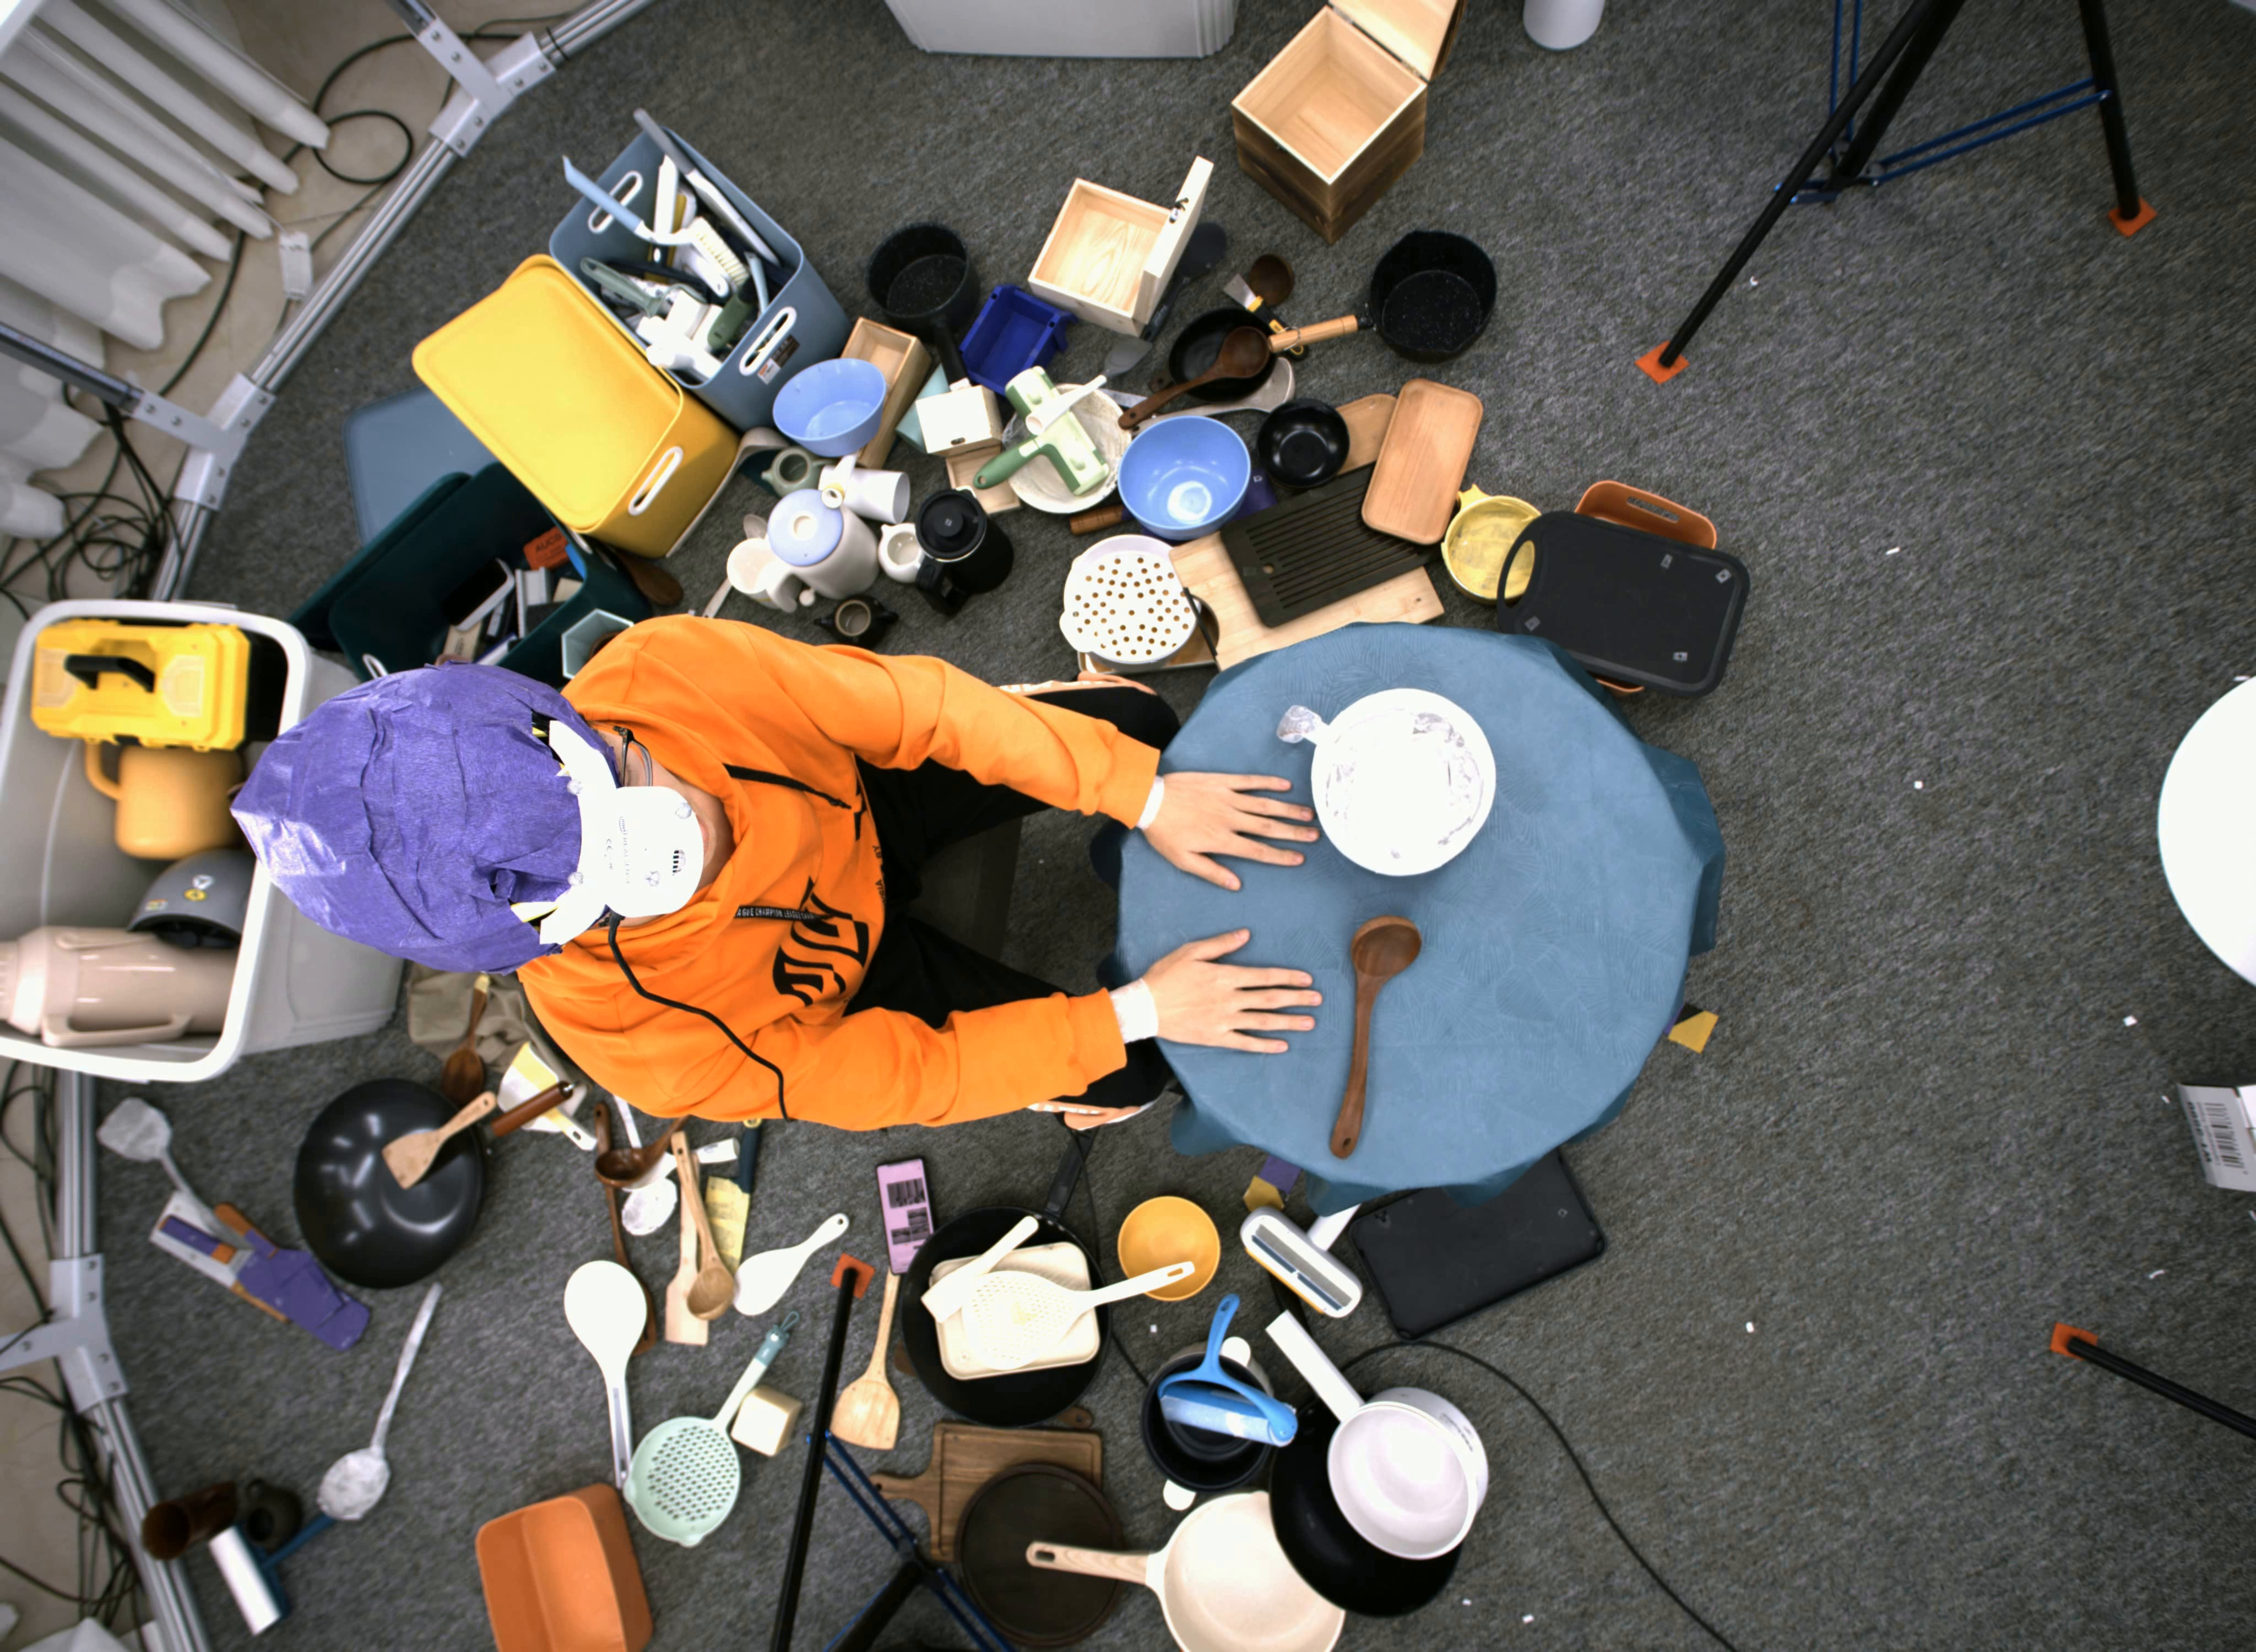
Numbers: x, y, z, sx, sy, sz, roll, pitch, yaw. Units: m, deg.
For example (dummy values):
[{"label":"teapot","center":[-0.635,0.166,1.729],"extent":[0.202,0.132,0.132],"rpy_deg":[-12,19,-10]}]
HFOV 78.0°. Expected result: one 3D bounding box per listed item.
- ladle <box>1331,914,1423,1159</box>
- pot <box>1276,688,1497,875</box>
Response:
[{"label":"ladle","center":[0.249,0.217,1.425],"extent":[0.076,0.065,0.259],"rpy_deg":[11,88,-11]},{"label":"pot","center":[0.253,-0.056,1.400],"extent":[0.233,0.137,0.179],"rpy_deg":[31,91,10]}]
